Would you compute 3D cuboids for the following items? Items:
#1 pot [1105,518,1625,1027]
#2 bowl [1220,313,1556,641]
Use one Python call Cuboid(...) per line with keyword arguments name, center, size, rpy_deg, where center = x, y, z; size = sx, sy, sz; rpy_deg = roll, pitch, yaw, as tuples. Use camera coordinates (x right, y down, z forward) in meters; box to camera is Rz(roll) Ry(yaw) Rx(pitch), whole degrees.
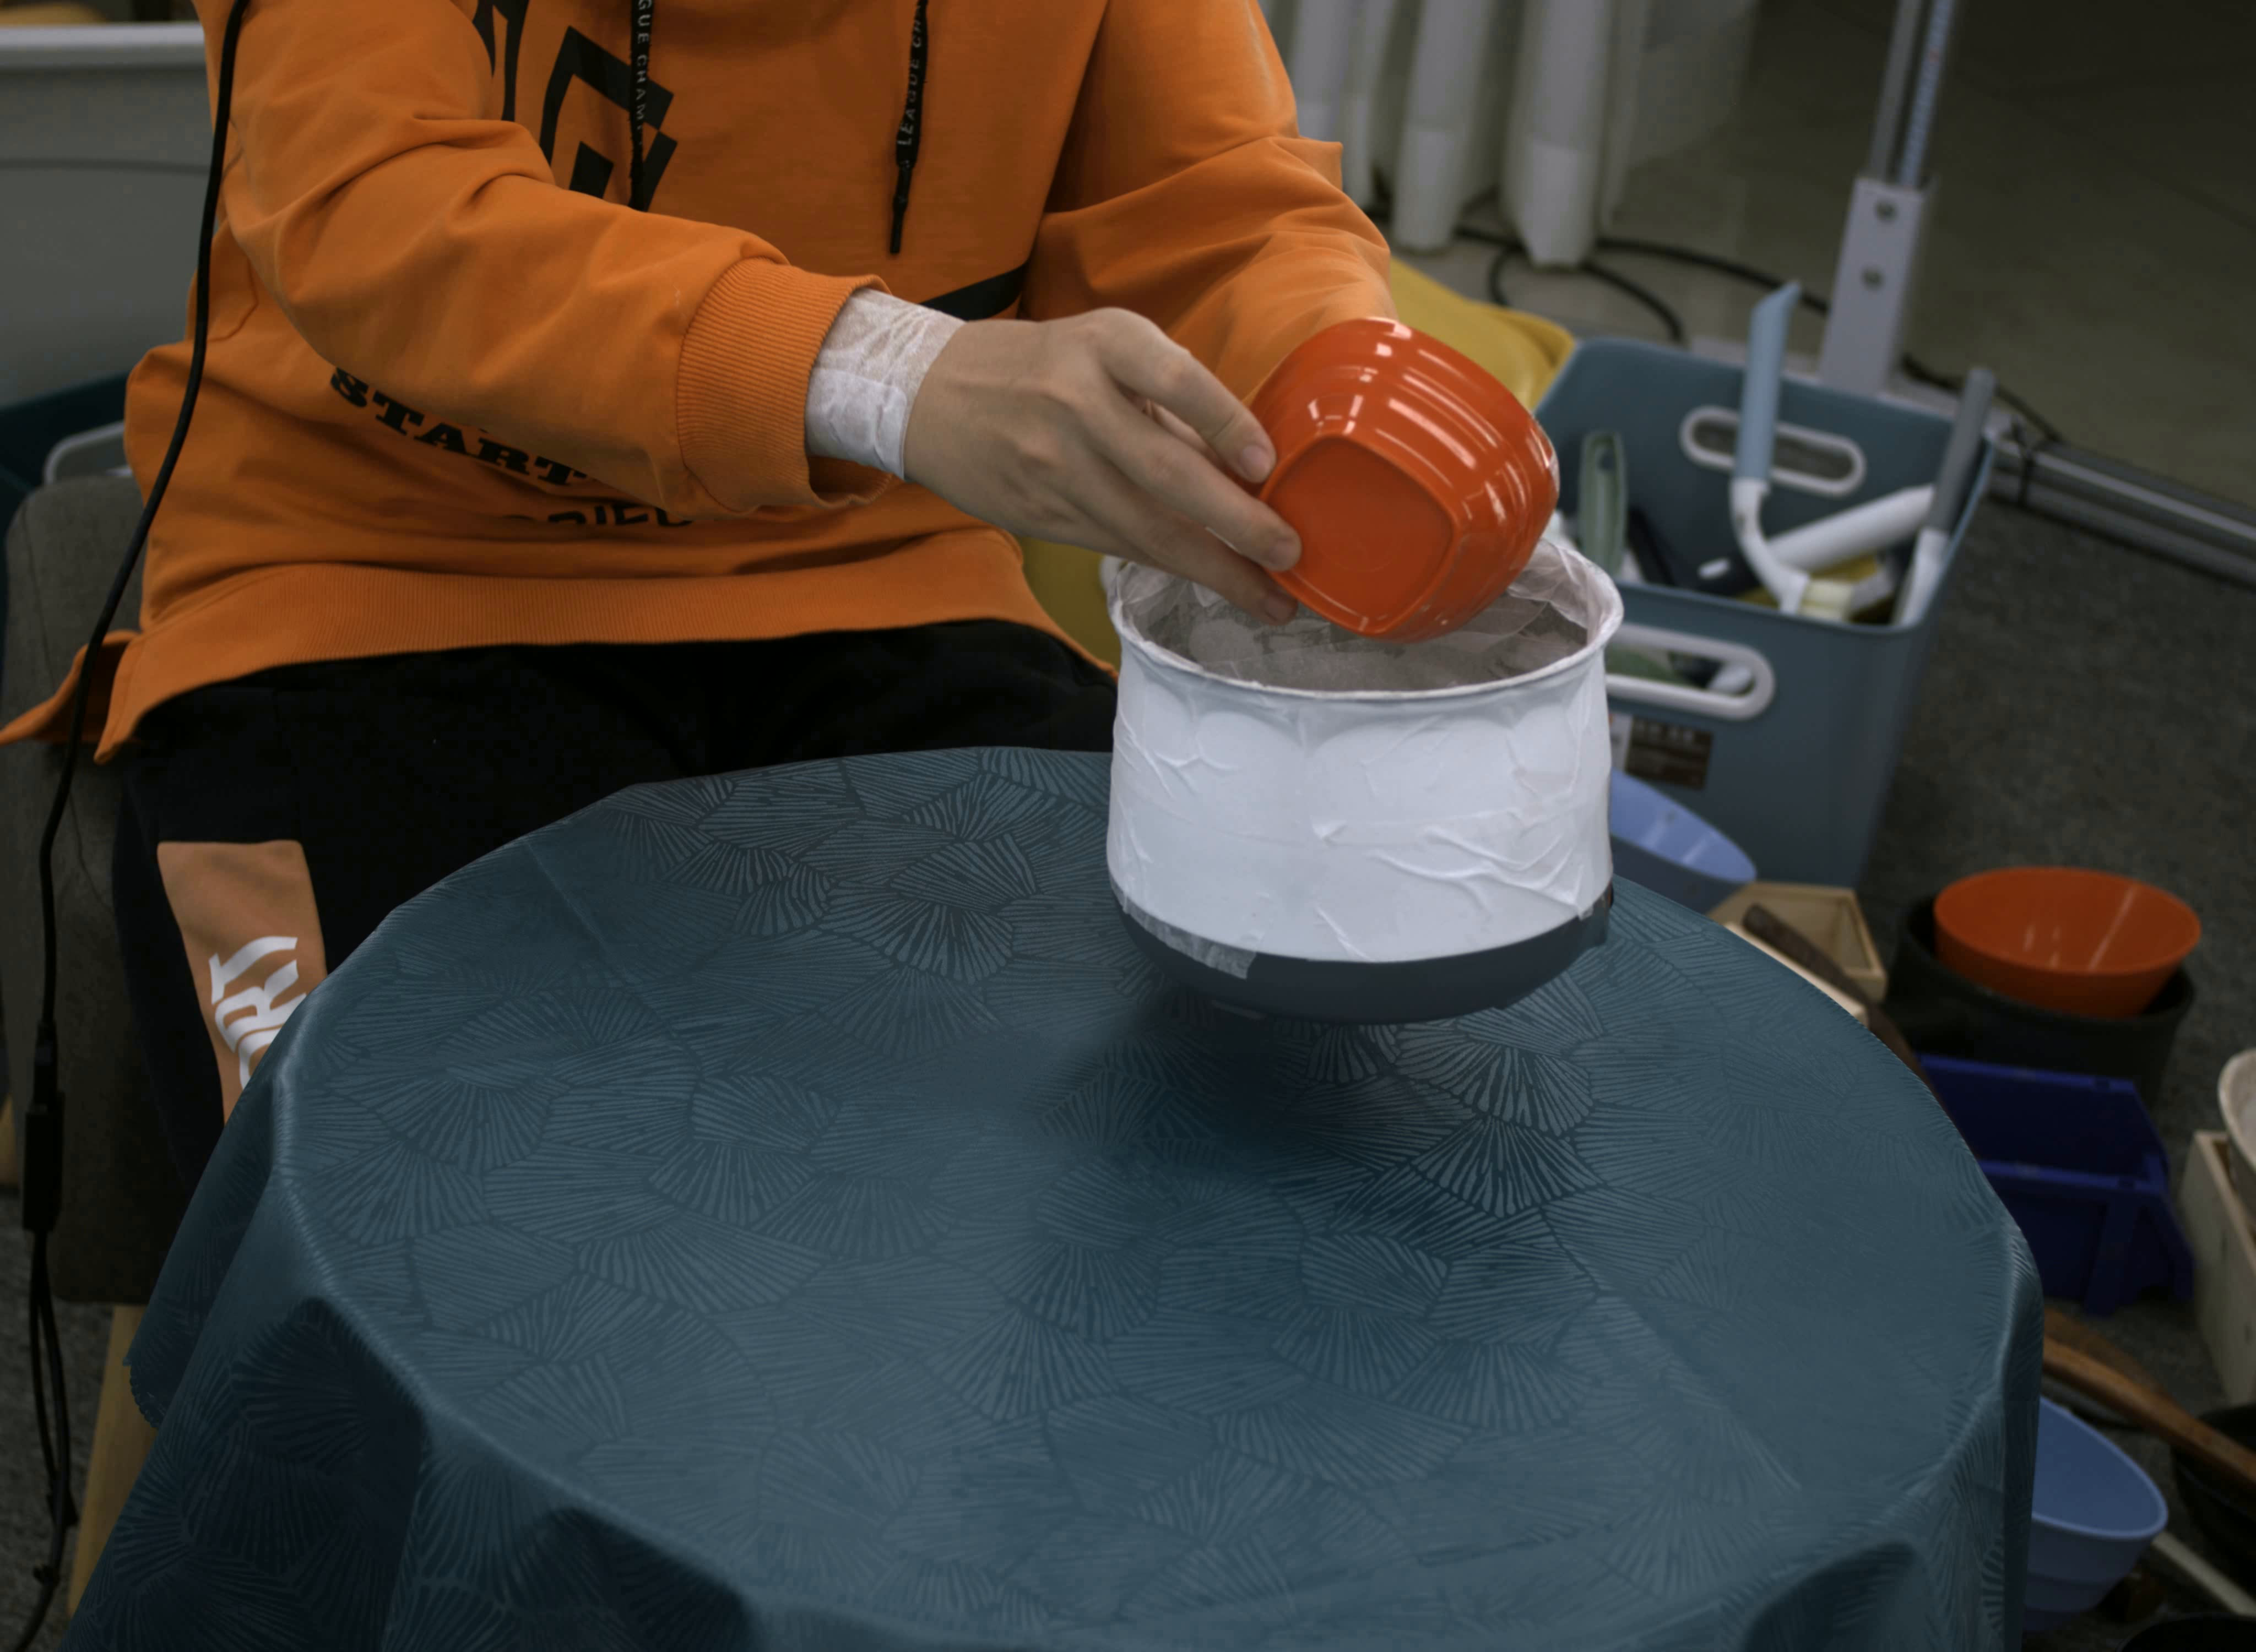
Cuboid(name="pot", center=(0.076, -0.030, 1.866), size=(0.178, 0.136, 0.235), rpy_deg=(-2, 23, -7))
Cuboid(name="bowl", center=(0.082, -0.110, 1.809), size=(0.119, 0.118, 0.051), rpy_deg=(14, 32, 14))
